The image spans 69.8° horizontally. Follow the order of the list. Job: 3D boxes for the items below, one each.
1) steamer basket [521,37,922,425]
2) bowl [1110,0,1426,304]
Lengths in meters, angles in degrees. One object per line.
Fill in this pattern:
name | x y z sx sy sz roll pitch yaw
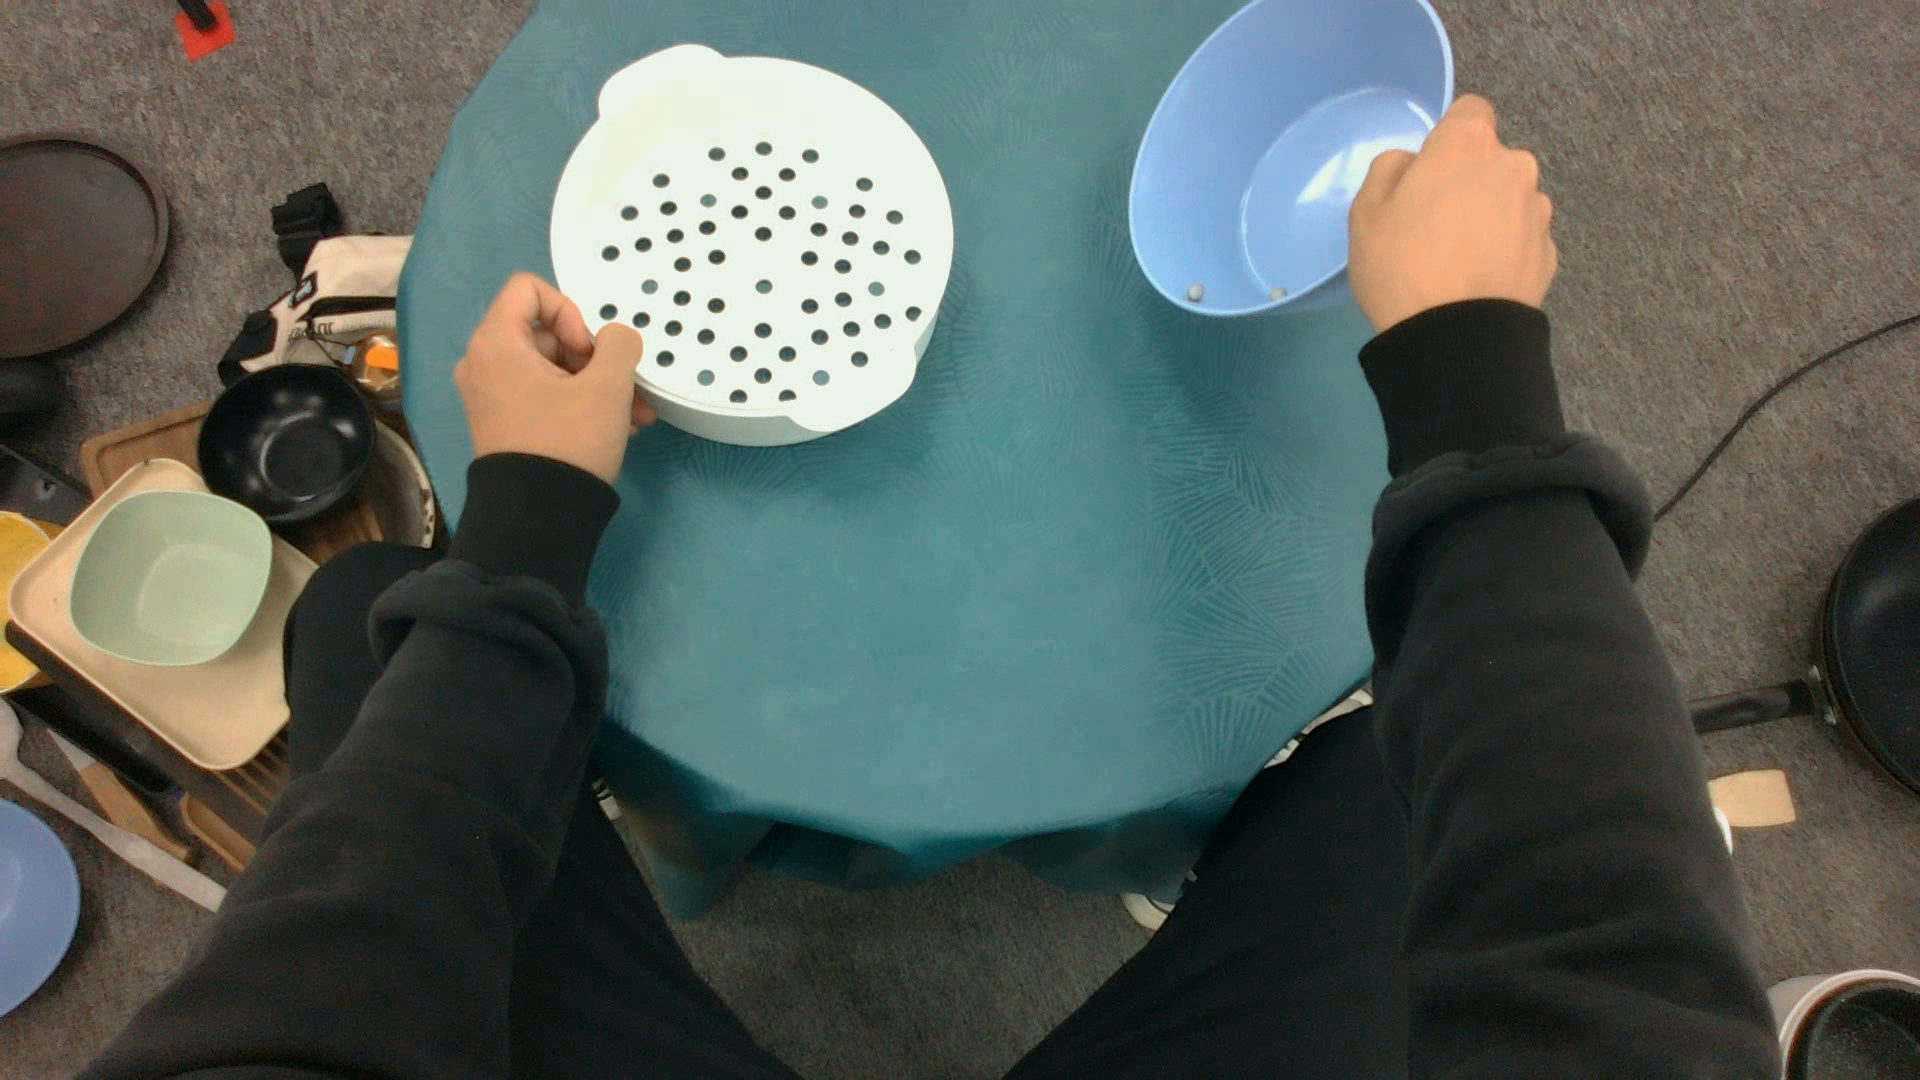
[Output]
steamer basket | -0.122 -0.158 0.724 0.202 0.069 0.231 -31 75 -14
bowl | 0.164 -0.191 0.691 0.070 0.175 0.176 21 65 -42
